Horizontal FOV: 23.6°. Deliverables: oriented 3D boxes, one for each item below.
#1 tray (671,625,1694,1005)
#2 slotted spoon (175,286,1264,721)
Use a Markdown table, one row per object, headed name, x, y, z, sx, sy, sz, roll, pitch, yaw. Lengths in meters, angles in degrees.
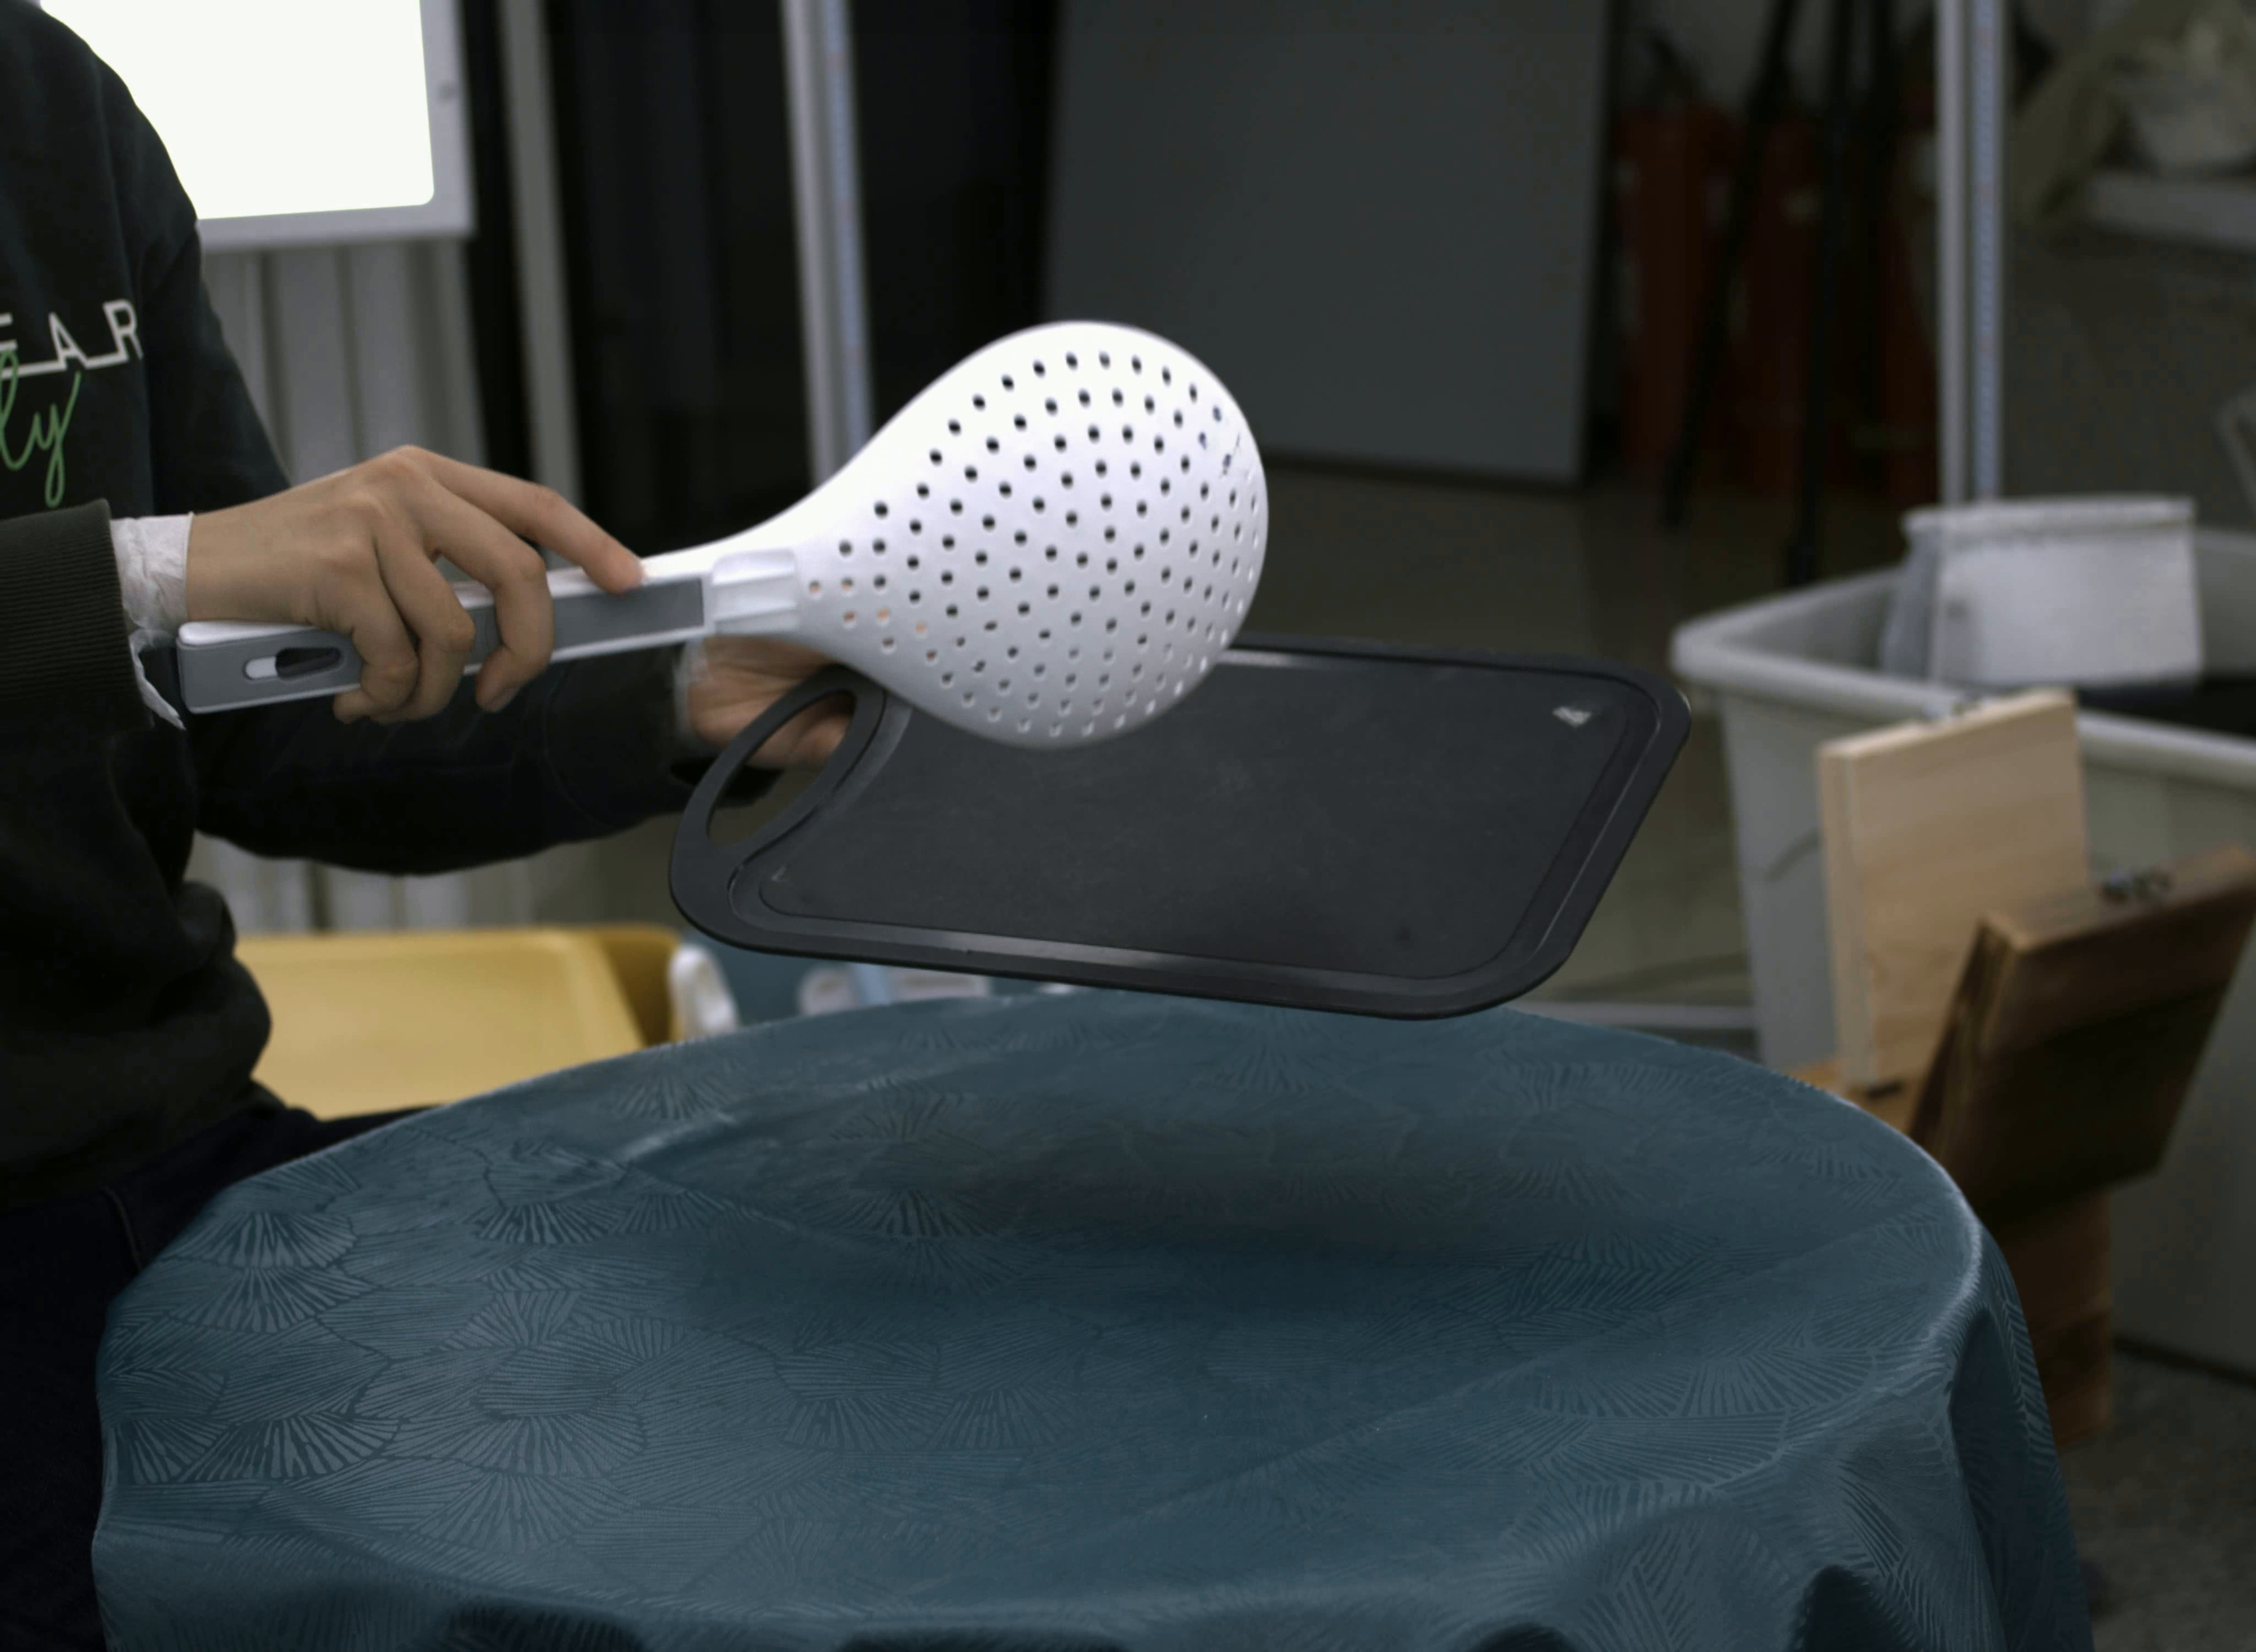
| name | x | y | z | sx | sy | sz | roll | pitch | yaw |
| --- | --- | --- | --- | --- | --- | --- | --- | --- | --- |
| tray | 0.011 | -0.010 | 1.749 | 0.326 | 0.010 | 0.210 | 5 | 34 | 24 |
| slotted spoon | -0.116 | -0.078 | 1.635 | 0.343 | 0.137 | 0.046 | -9 | 17 | -14 |
